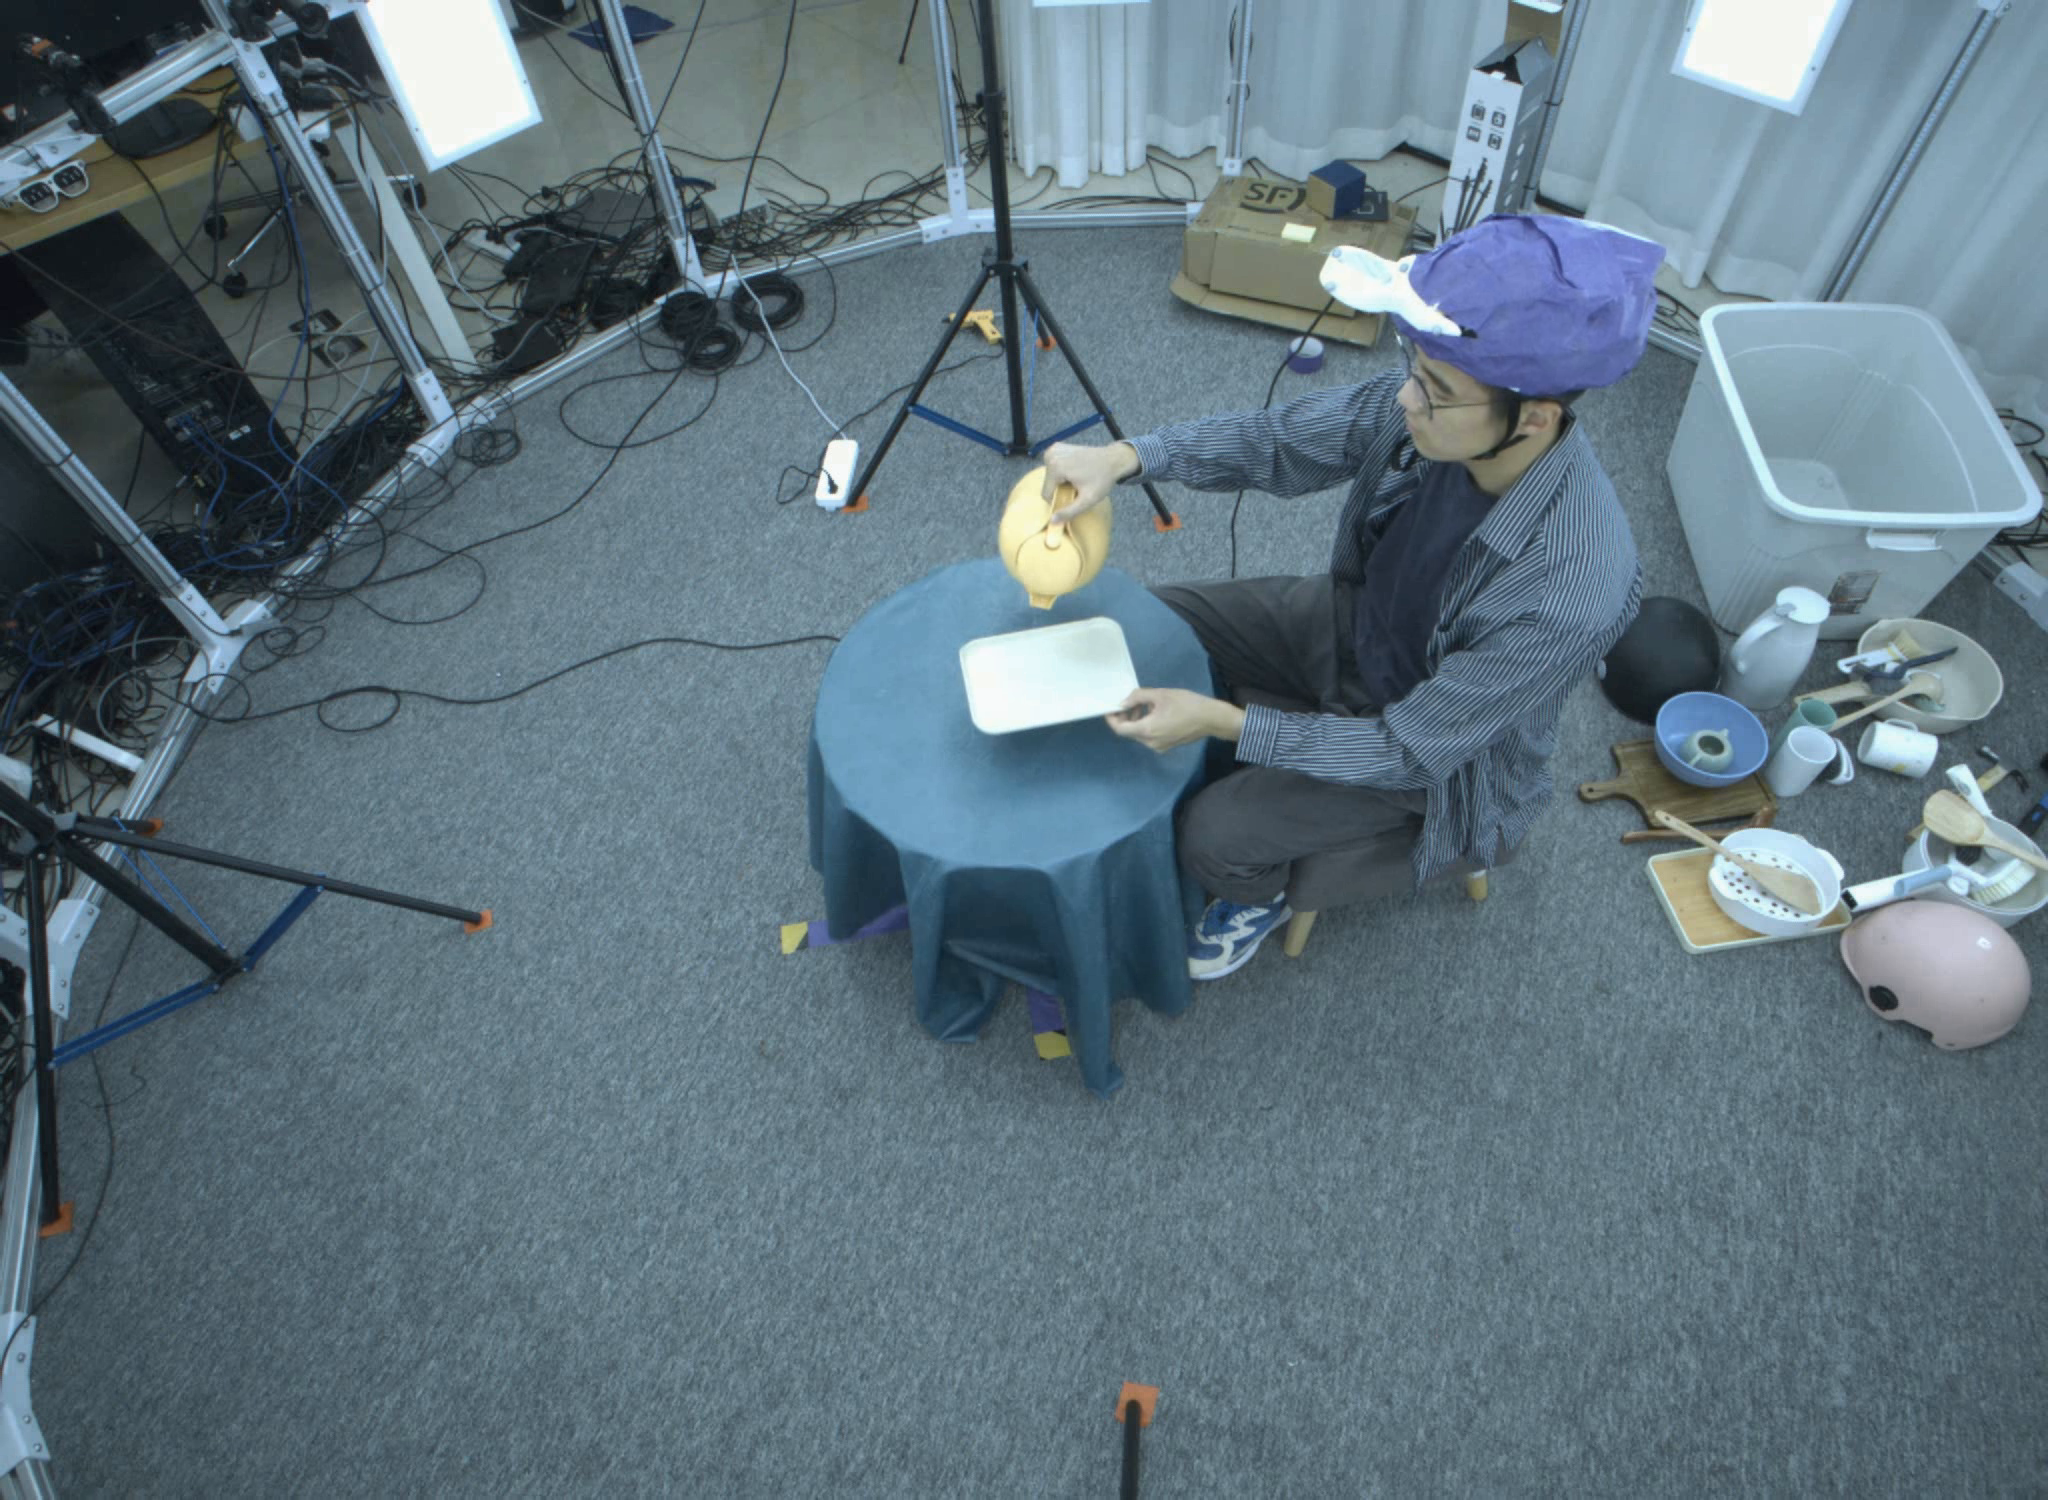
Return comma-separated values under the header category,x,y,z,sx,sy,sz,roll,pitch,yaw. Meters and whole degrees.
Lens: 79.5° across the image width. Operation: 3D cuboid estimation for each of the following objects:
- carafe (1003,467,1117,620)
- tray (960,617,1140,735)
category,x,y,z,sx,sy,sz,roll,pitch,yaw
carafe,0.054,-0.314,1.775,0.164,0.203,0.258,9,29,-1
tray,0.035,-0.105,1.756,0.240,0.017,0.169,-10,58,-6
